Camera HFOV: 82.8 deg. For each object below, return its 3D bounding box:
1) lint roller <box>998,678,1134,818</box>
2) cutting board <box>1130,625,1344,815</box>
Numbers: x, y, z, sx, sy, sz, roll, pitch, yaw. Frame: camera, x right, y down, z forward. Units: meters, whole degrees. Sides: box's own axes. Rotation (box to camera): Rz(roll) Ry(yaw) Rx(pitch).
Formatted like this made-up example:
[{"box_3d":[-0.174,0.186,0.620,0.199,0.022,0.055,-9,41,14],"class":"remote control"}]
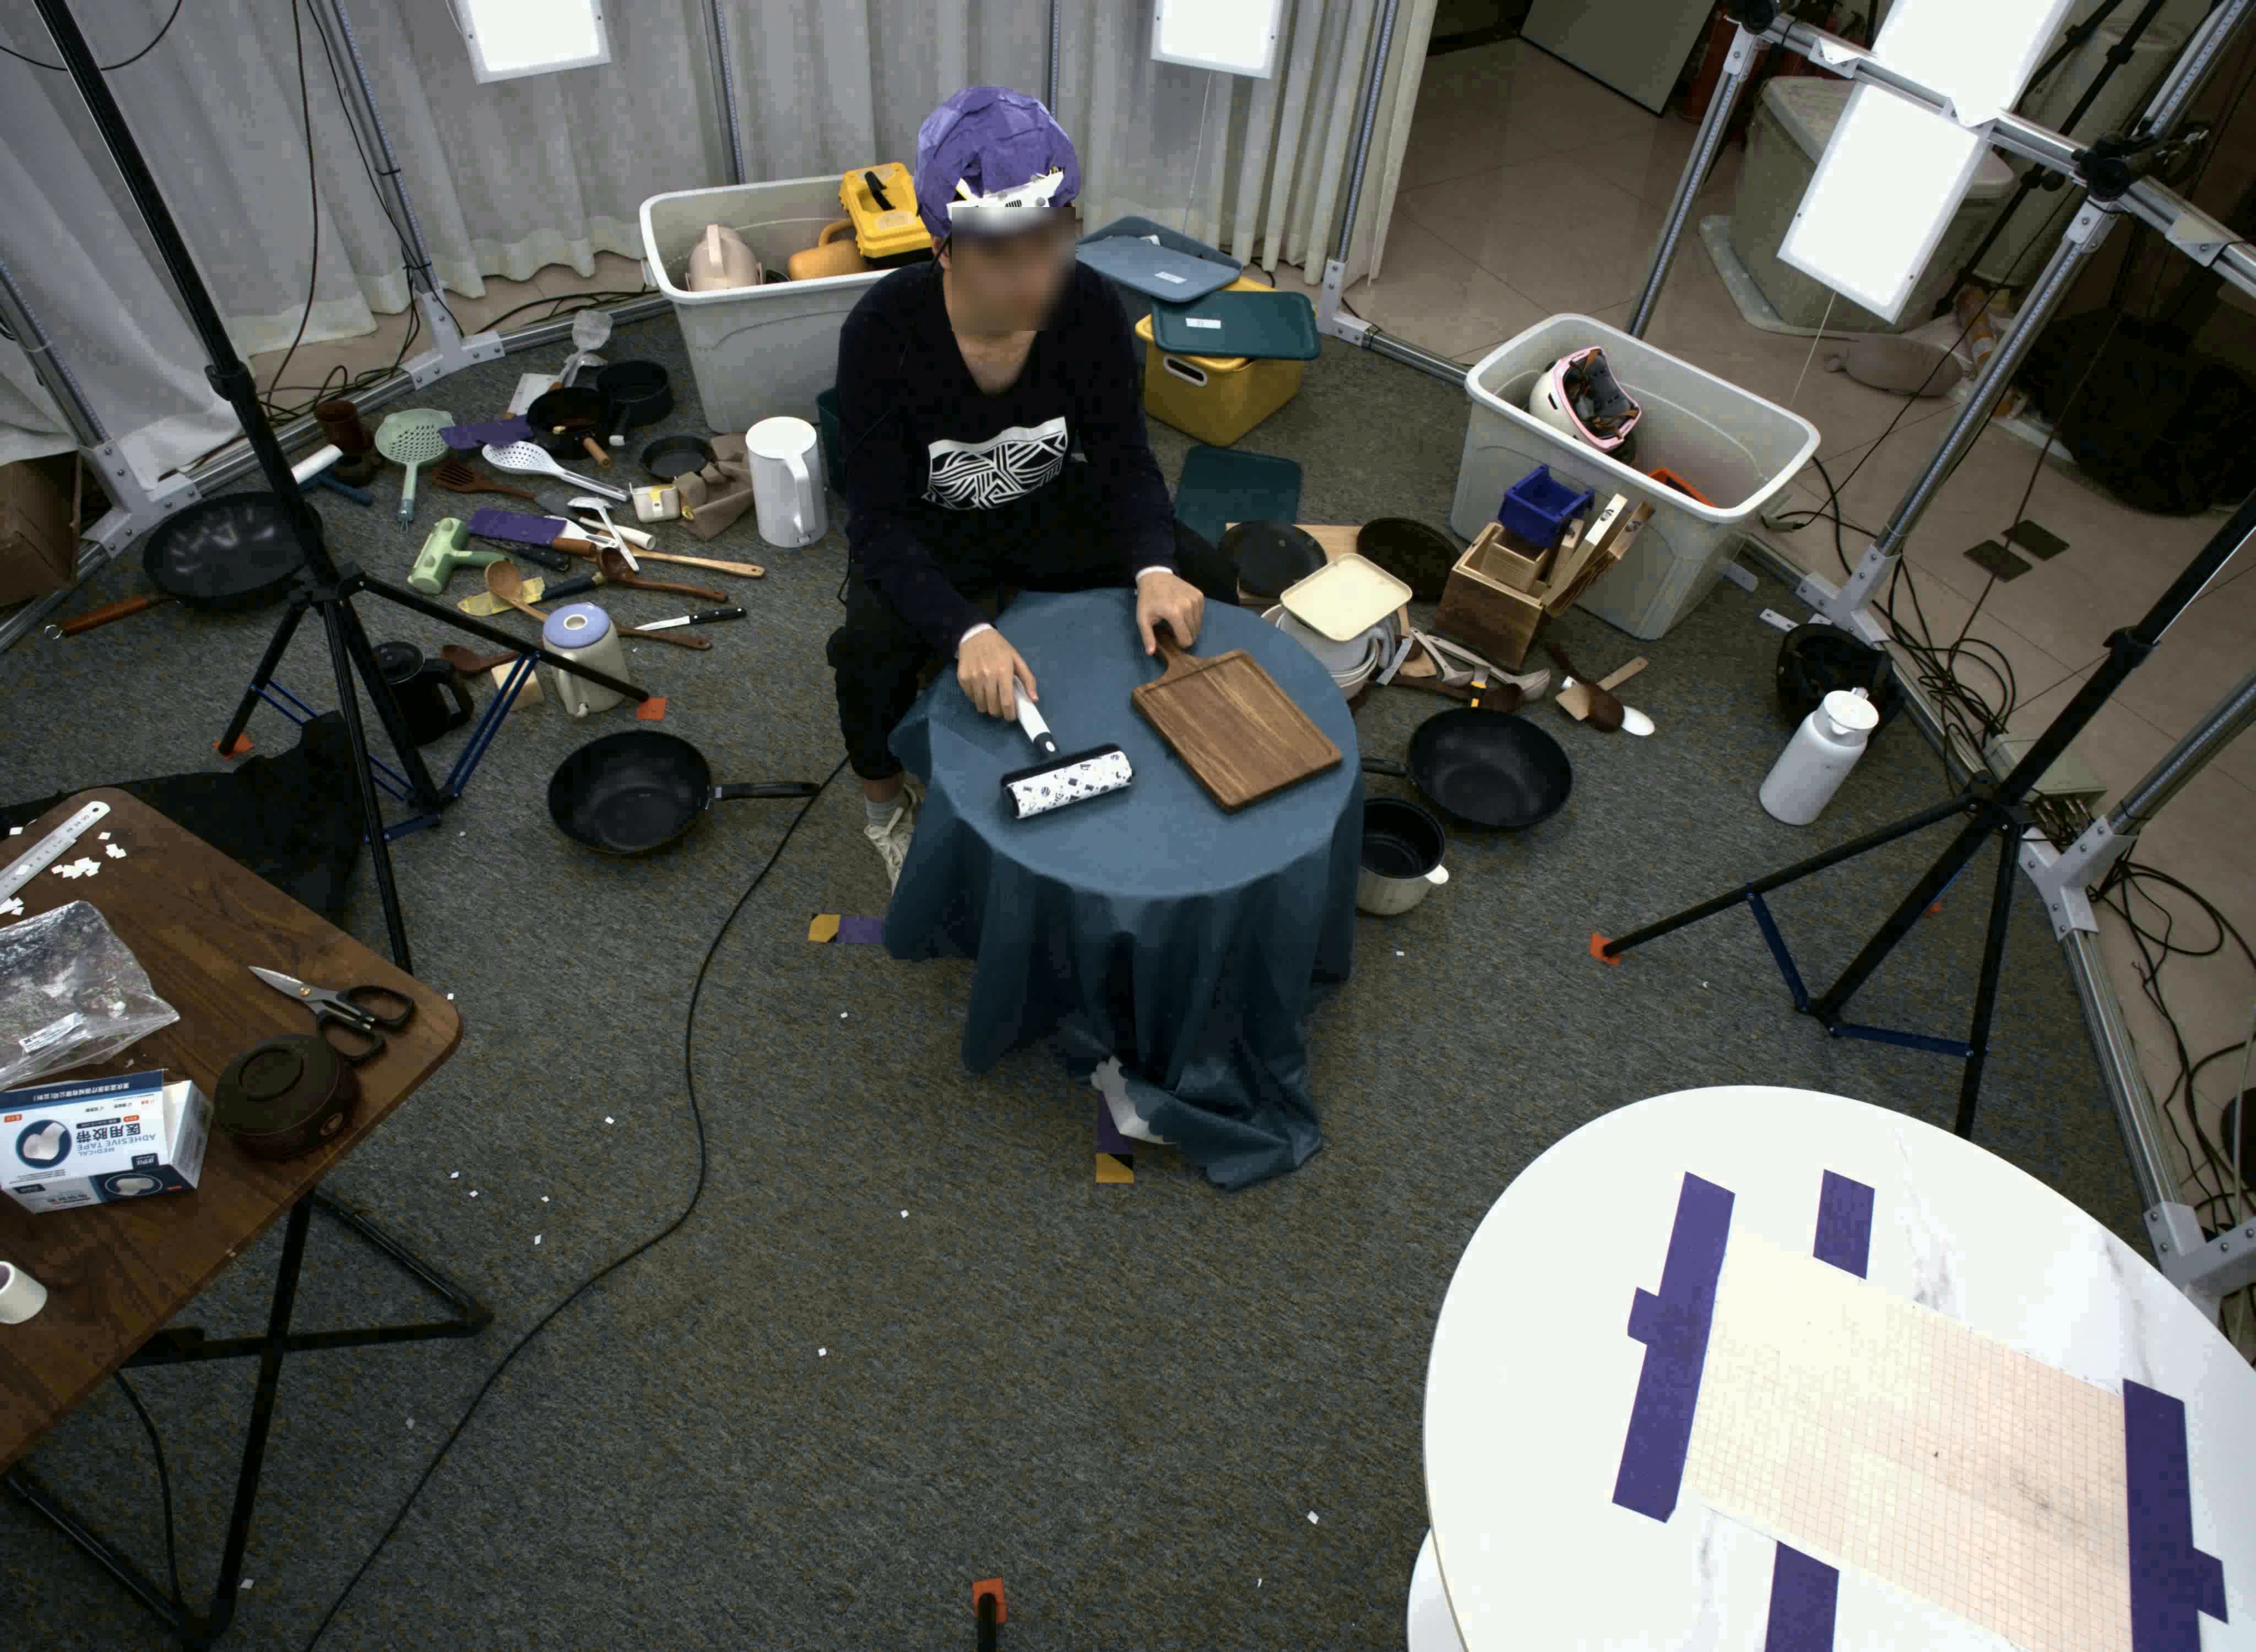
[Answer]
[{"box_3d":[-0.122,-0.125,1.740,0.176,0.049,0.253,-19,51,-18],"class":"lint roller"},{"box_3d":[0.123,-0.172,1.811,0.202,0.022,0.359,-23,55,-23],"class":"cutting board"}]
